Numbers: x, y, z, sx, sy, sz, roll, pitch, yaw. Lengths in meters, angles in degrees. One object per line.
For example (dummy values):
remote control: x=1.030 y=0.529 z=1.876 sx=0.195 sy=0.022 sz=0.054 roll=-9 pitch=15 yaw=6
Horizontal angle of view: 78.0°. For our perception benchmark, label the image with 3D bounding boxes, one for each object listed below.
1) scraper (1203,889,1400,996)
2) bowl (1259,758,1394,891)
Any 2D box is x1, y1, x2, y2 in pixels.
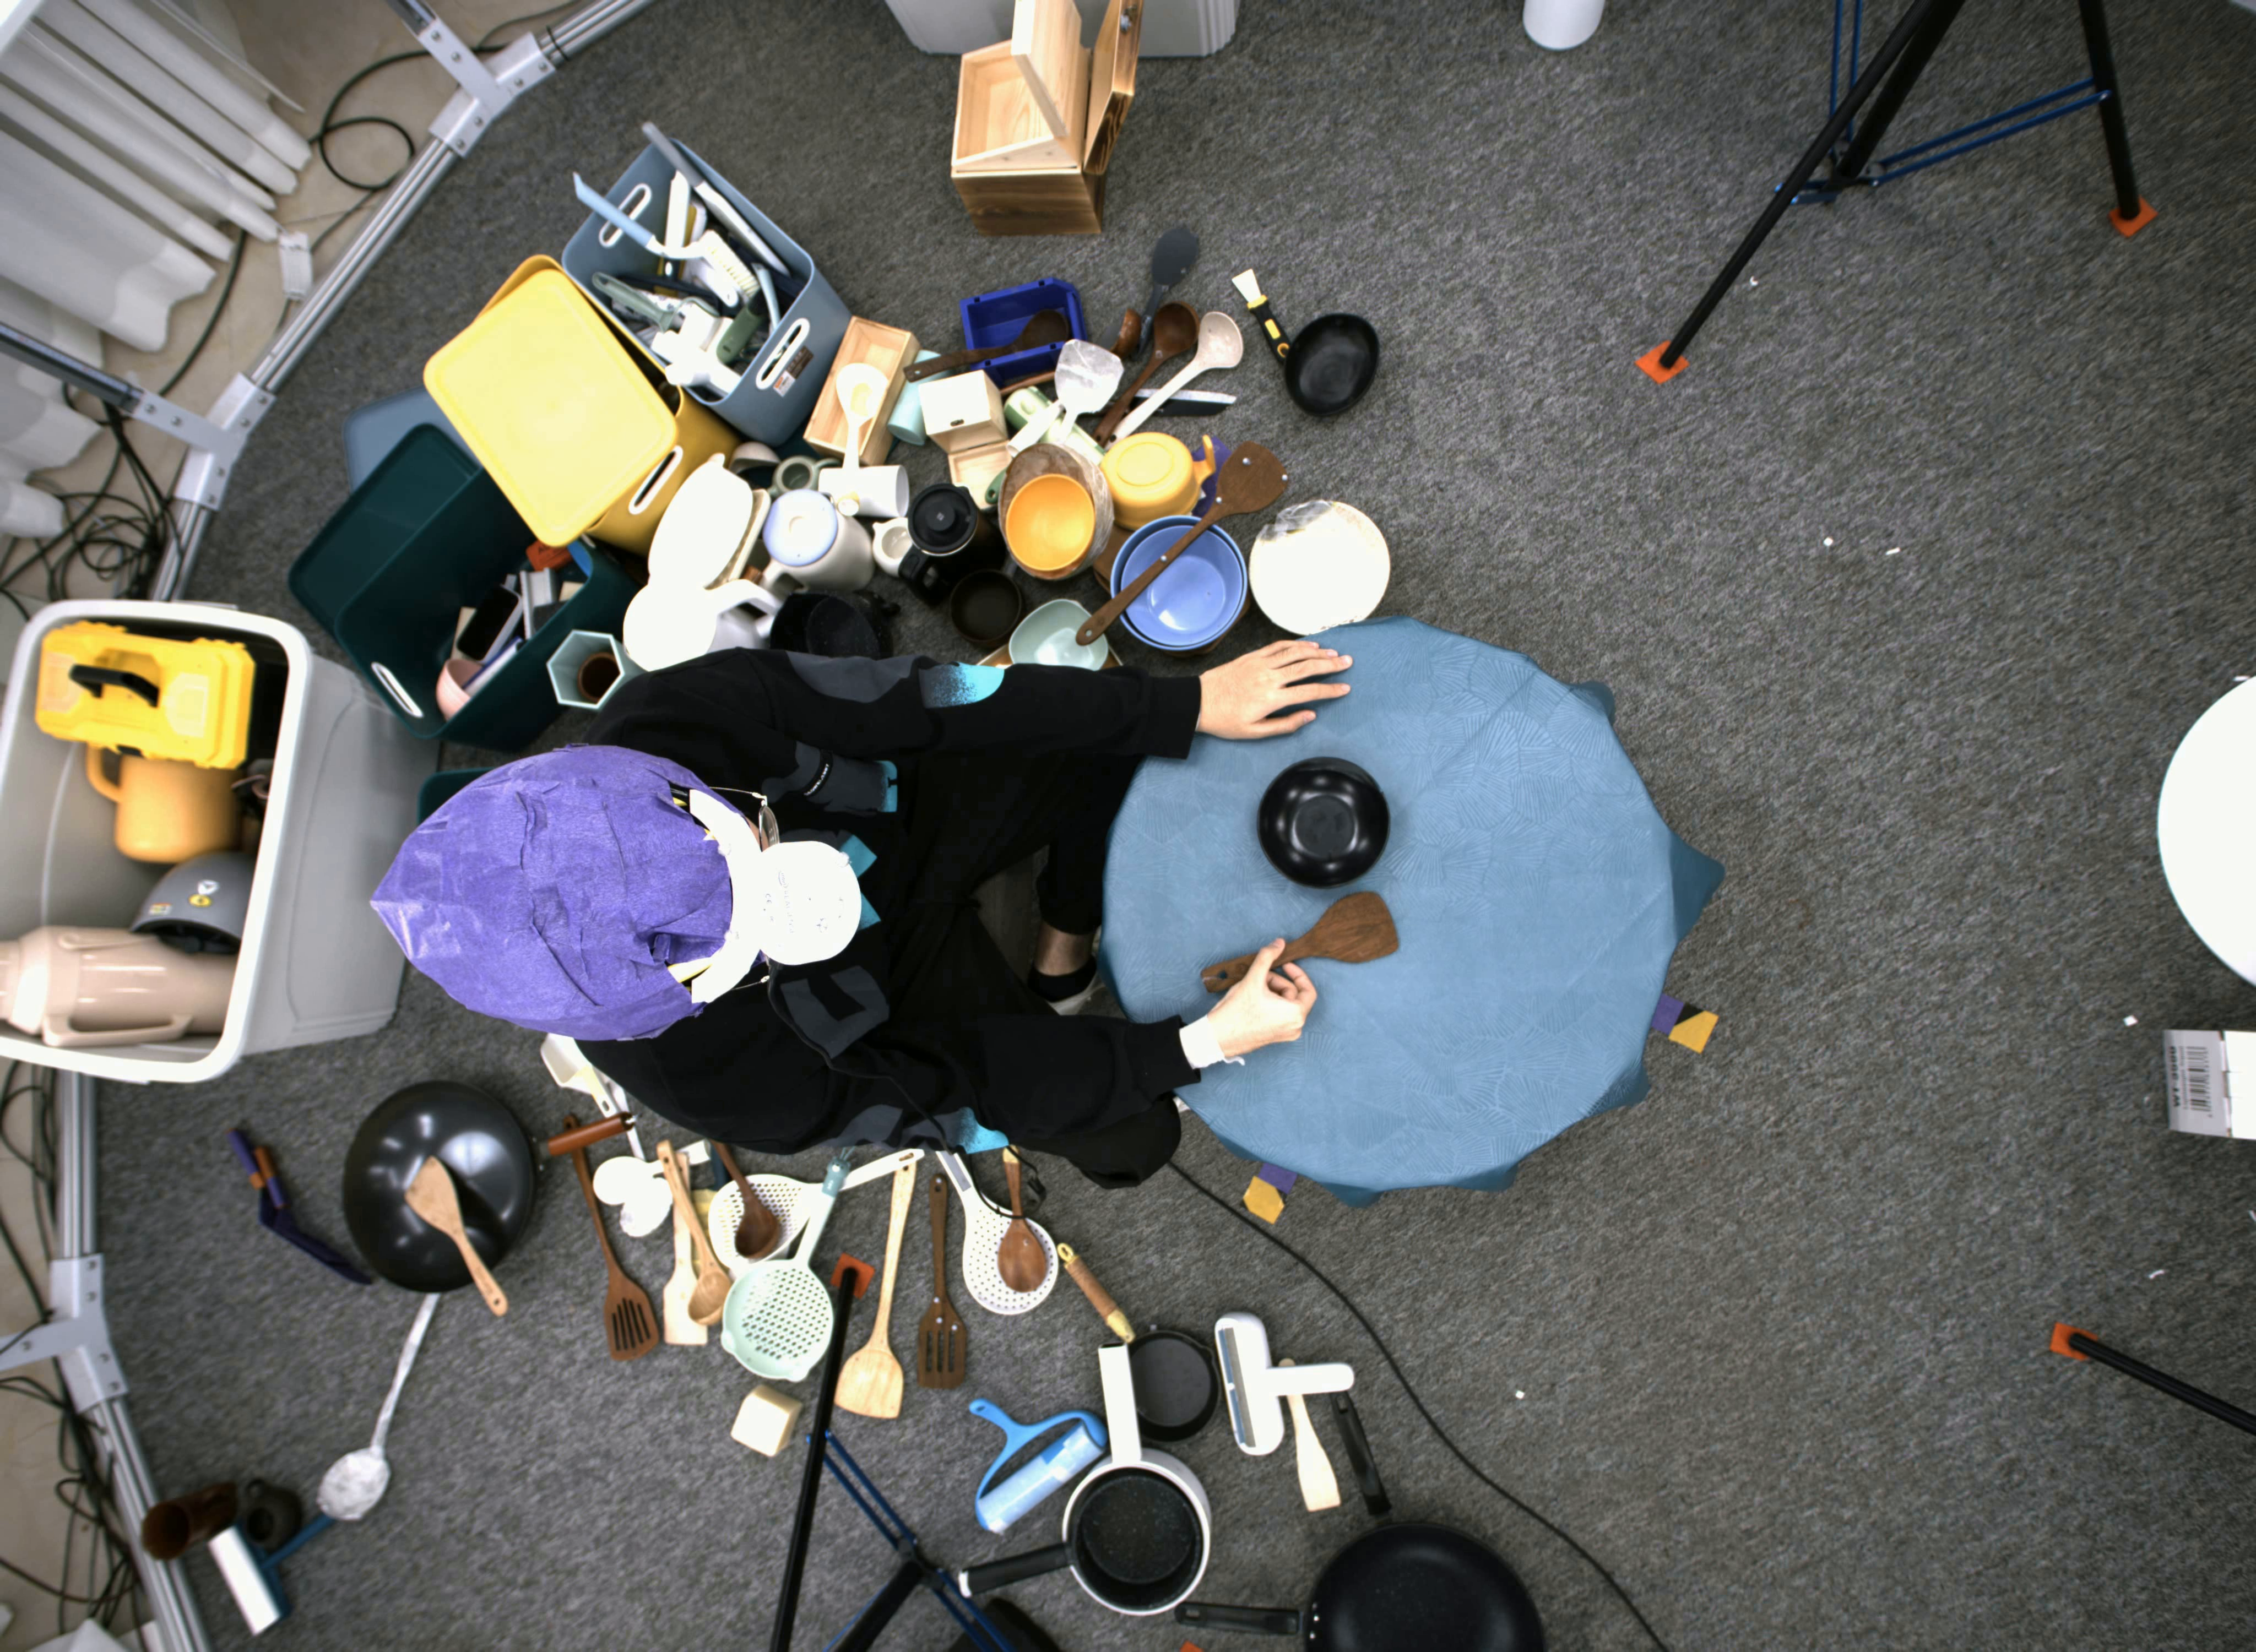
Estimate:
scraper: x=0.181 y=0.133 z=1.464 sx=0.212 sy=0.011 sz=0.075 roll=-20 pitch=82 yaw=2
bowl: x=0.209 y=-0.001 z=1.457 sx=0.140 sy=0.049 sz=0.139 roll=0 pitch=89 yaw=11
